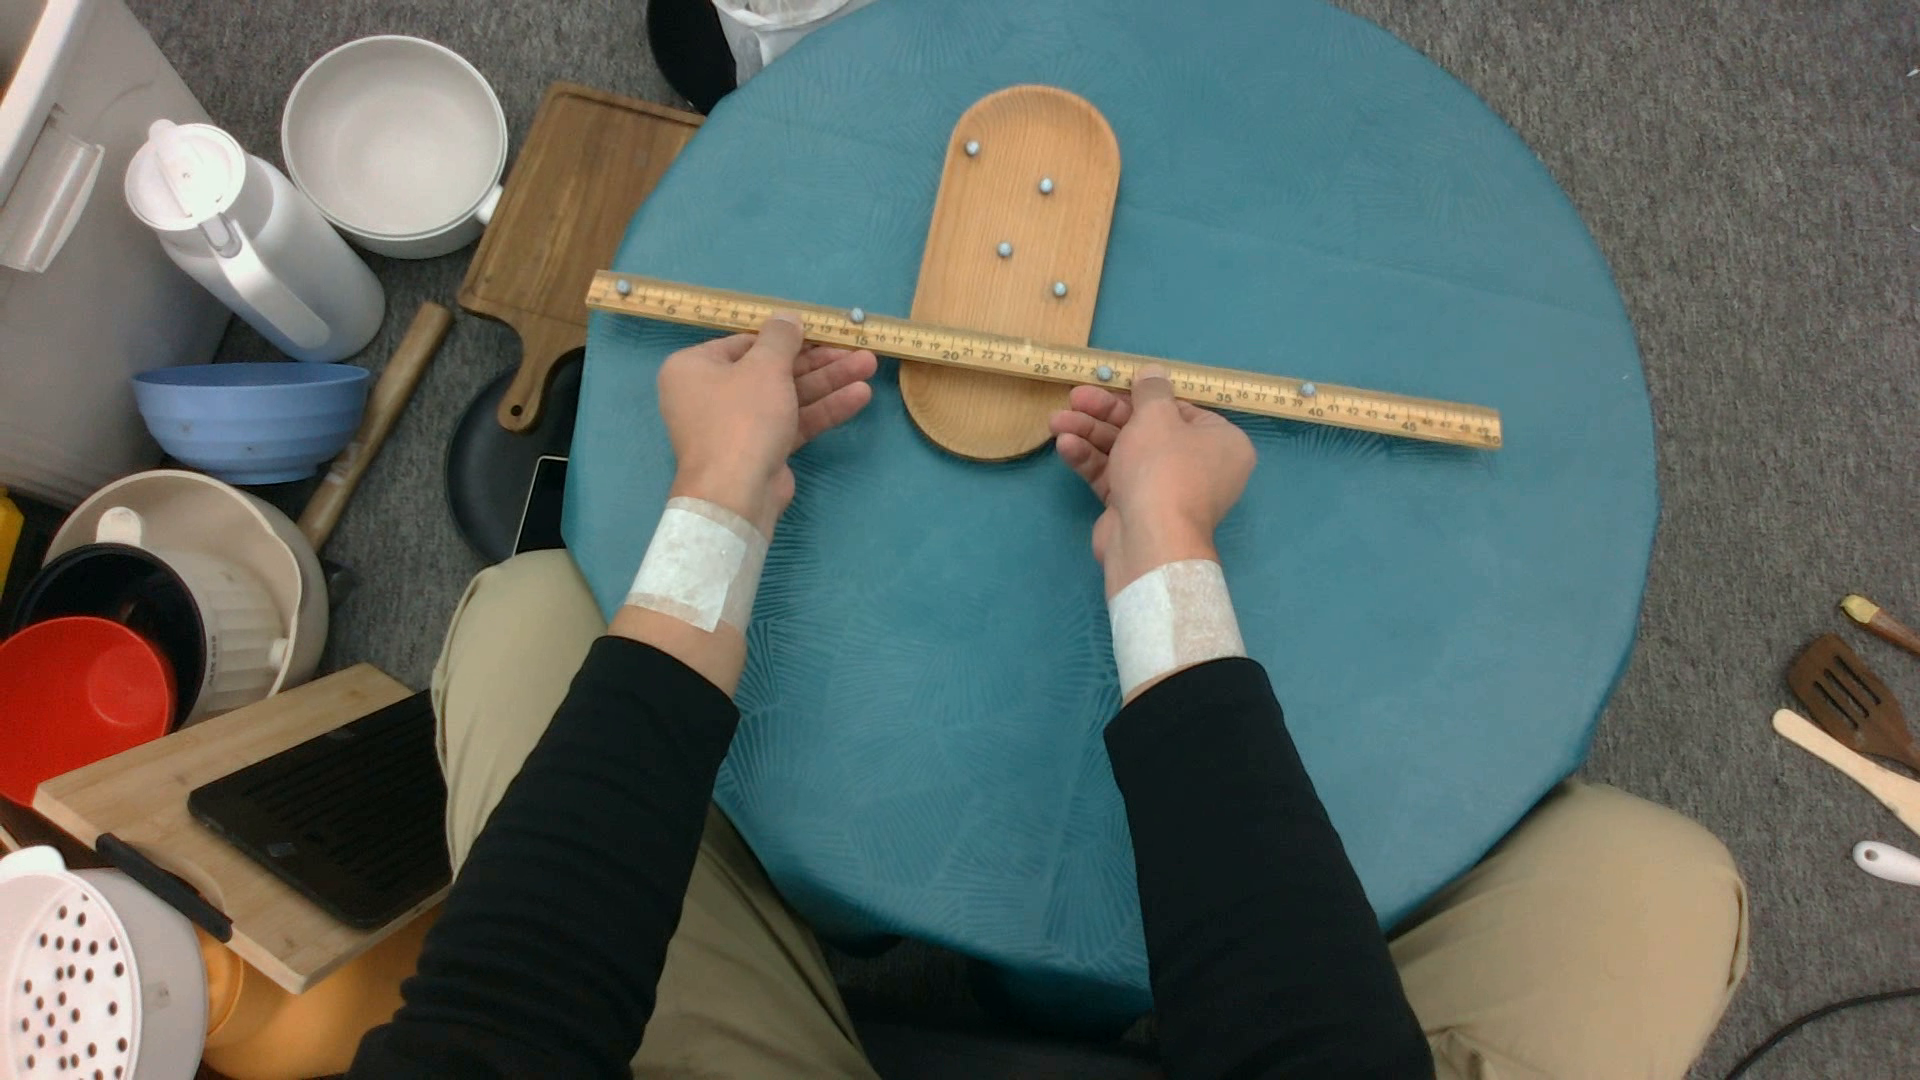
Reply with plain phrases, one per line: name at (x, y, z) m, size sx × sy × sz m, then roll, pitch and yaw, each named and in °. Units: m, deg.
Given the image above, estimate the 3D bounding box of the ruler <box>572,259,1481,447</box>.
ruler at (0.037, -0.102, 0.750) m, size 0.500 × 0.006 × 0.027 m, roll 10°, pitch 60°, yaw 0°

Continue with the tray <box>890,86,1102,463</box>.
tray at (0.022, -0.153, 0.780) m, size 0.101 × 0.020 × 0.231 m, roll 8°, pitch 76°, yaw 3°
